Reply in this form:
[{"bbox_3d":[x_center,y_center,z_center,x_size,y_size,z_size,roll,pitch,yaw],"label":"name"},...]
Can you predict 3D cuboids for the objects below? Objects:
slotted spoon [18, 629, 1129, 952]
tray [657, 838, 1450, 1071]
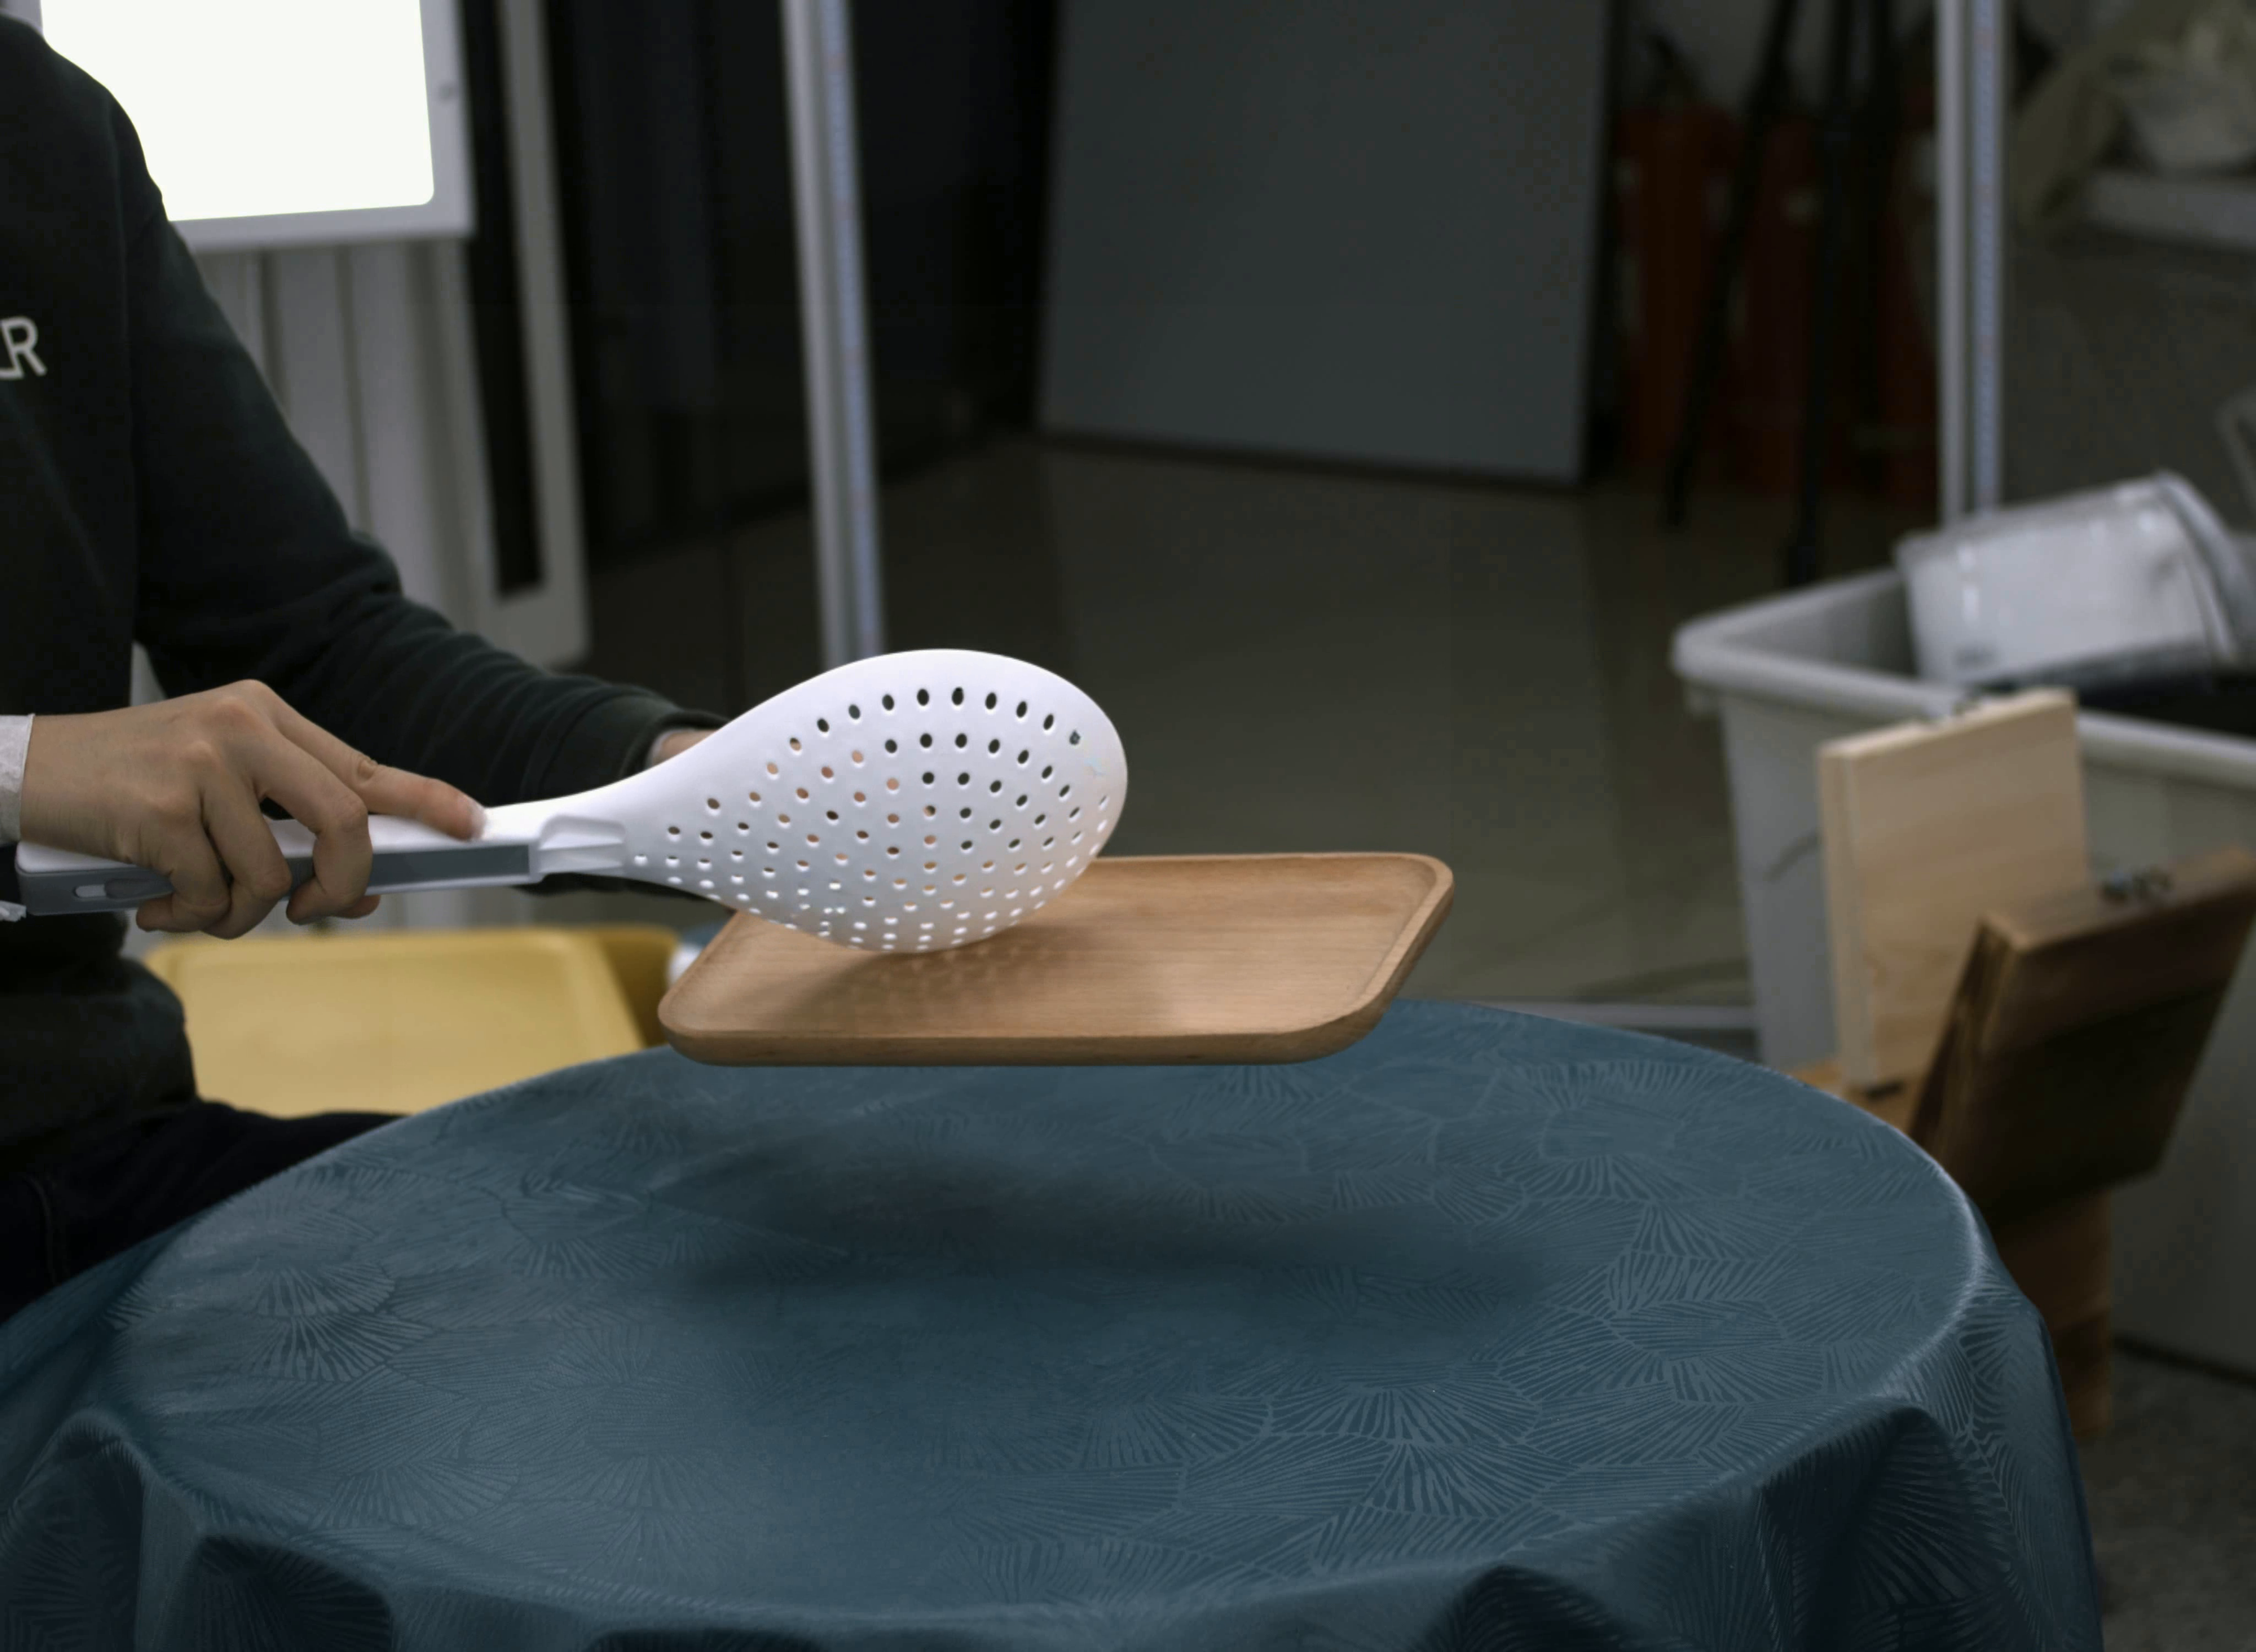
[{"bbox_3d":[-0.171,0.003,1.695,0.345,0.137,0.046,-1,45,-2],"label":"slotted spoon"},{"bbox_3d":[-0.024,0.042,1.729,0.251,0.023,0.129,-3,23,25],"label":"tray"}]
